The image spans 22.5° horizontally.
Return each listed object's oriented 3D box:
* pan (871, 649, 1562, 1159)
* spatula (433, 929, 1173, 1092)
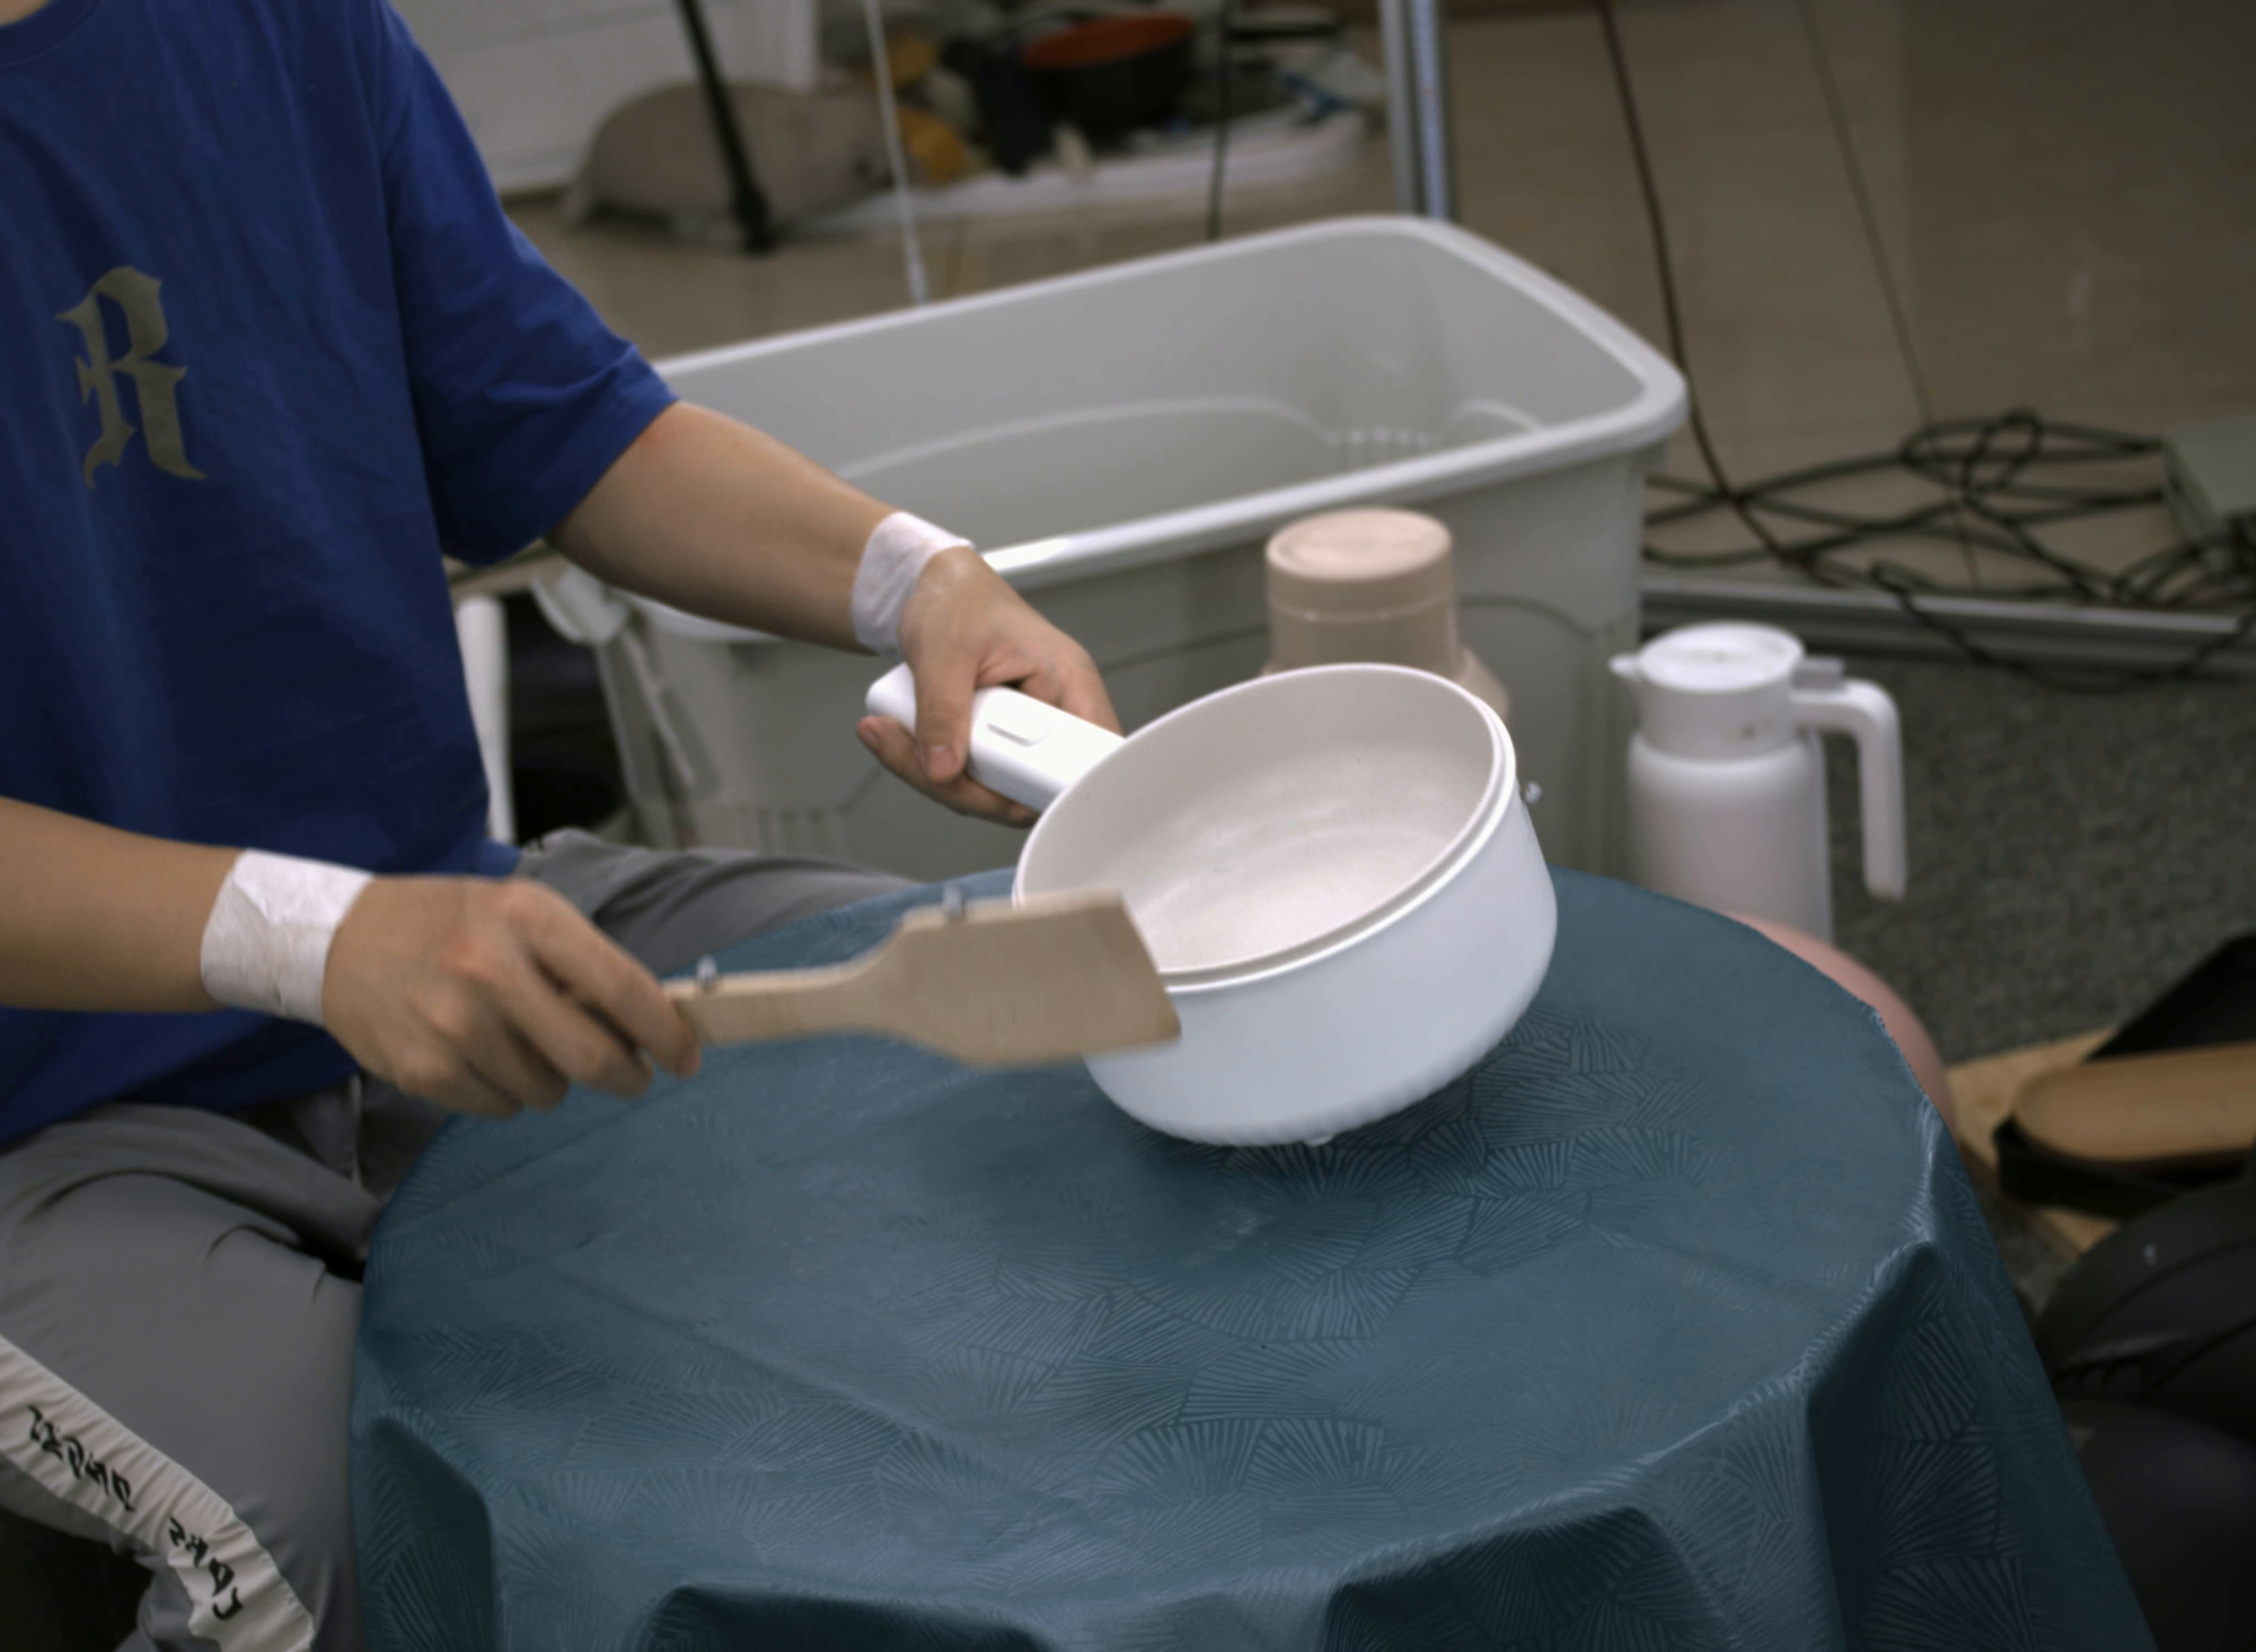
[{"bbox_3d":[0.022,0.019,2.238,0.199,0.104,0.351,-38,35,-21],"label":"pan"},{"bbox_3d":[-0.125,0.072,2.031,0.293,0.073,0.010,-4,42,27],"label":"spatula"}]
